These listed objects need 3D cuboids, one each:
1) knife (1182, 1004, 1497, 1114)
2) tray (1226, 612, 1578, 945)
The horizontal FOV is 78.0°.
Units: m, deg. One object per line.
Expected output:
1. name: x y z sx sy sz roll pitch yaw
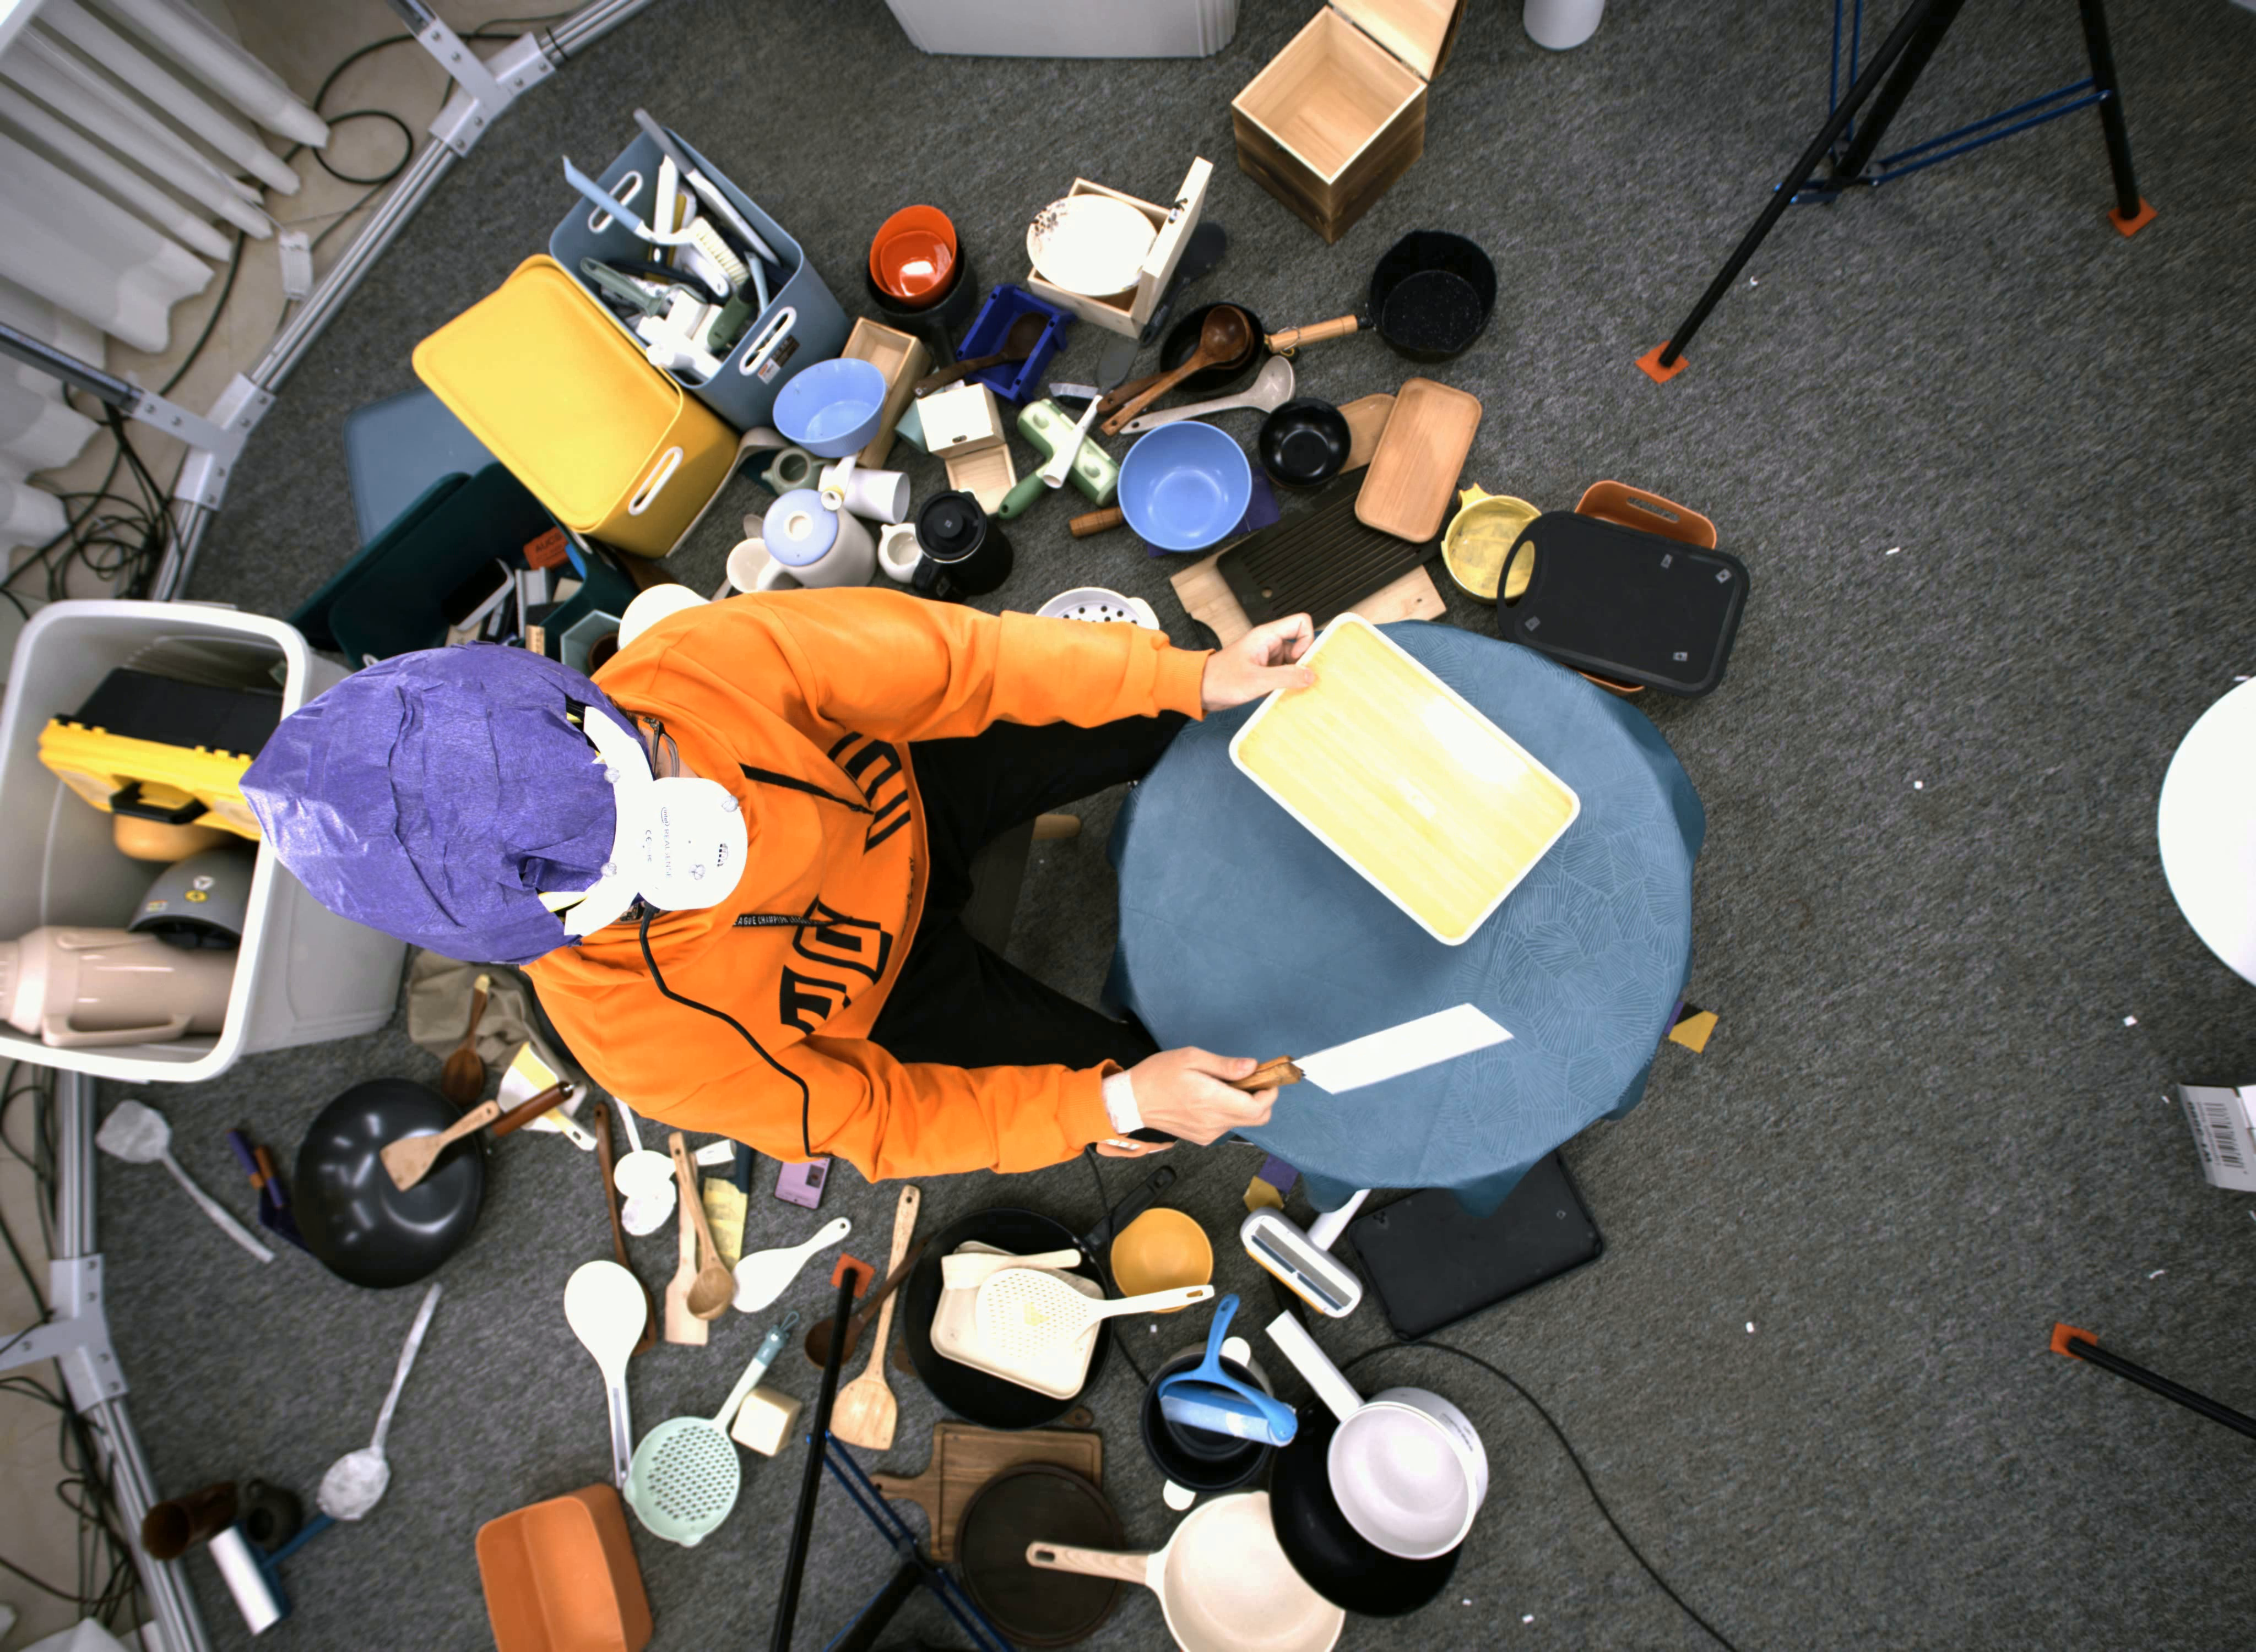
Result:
1. knife: 0.191 0.218 1.265 0.311 0.093 0.020 -26 52 34
2. tray: 0.263 -0.049 1.335 0.299 0.027 0.193 42 98 9
